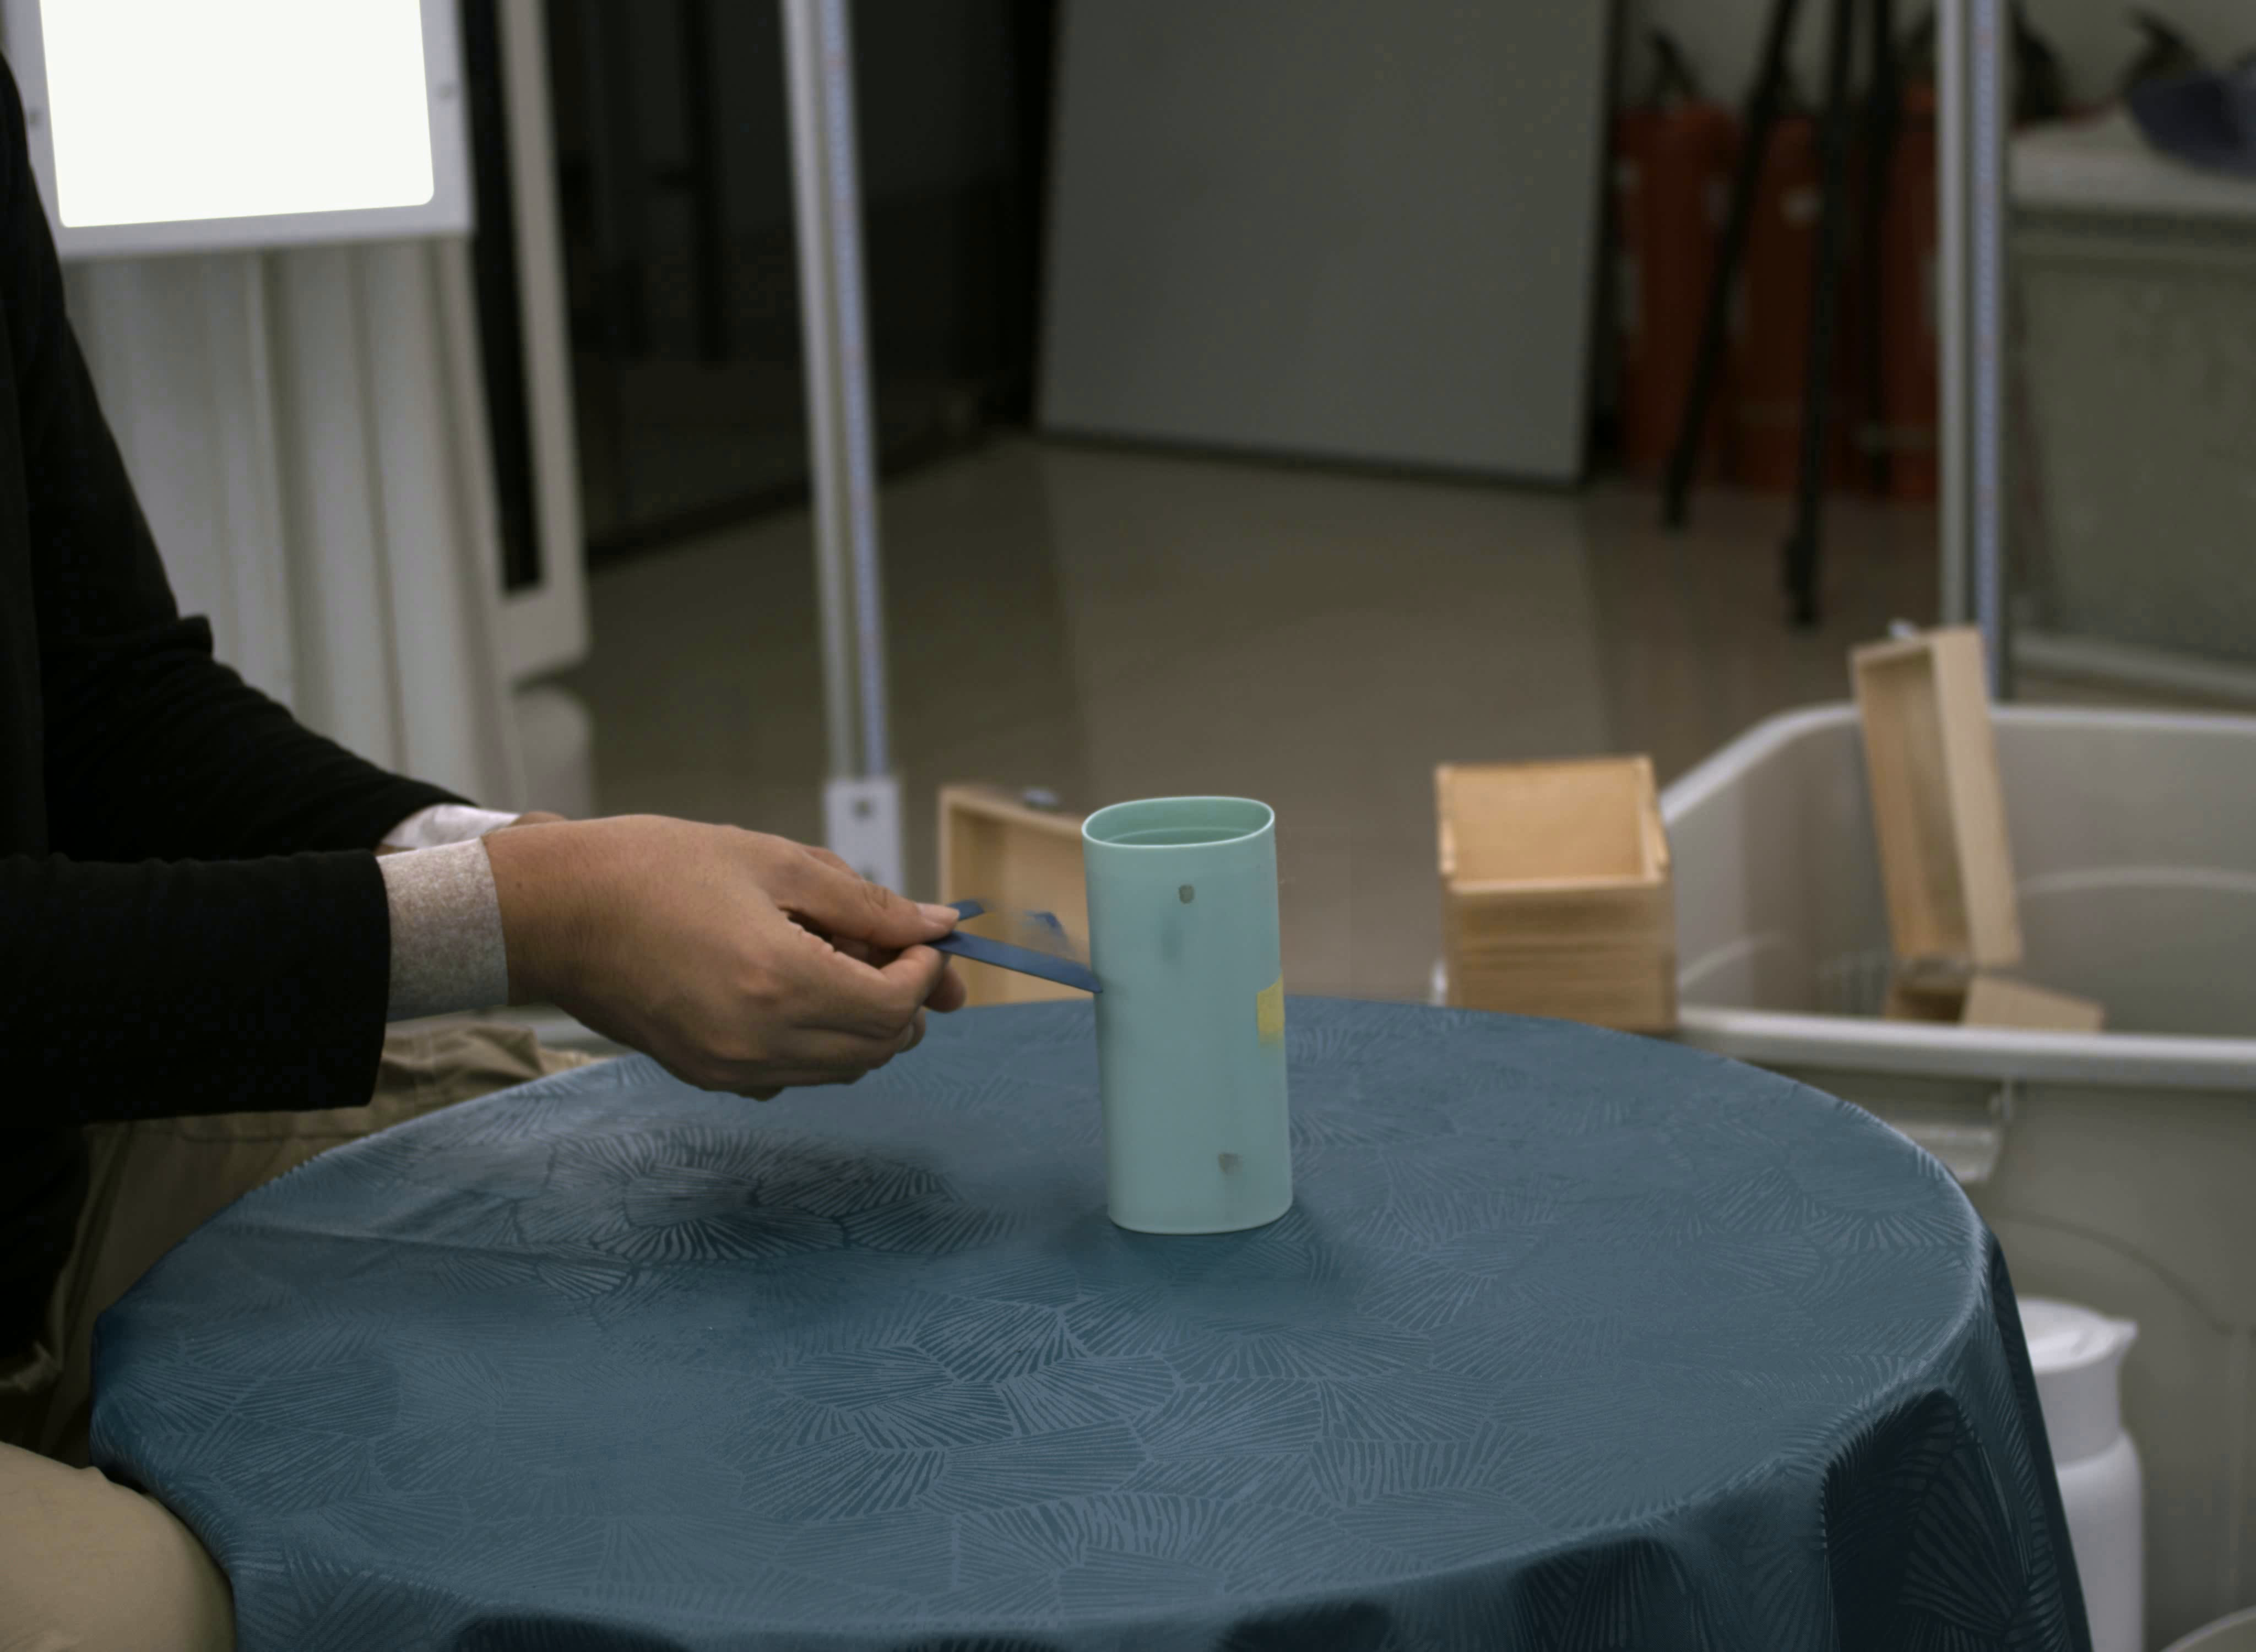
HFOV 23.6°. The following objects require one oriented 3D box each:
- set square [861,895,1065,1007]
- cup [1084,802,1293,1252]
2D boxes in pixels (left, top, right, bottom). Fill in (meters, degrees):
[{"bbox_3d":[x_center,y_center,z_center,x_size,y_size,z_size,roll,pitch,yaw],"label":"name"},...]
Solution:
[{"bbox_3d":[-0.054,0.041,1.749,0.060,0.006,0.132,-5,15,-5],"label":"set square"},{"bbox_3d":[0.019,0.064,1.737,0.066,0.134,0.067,-3,14,0],"label":"cup"}]
